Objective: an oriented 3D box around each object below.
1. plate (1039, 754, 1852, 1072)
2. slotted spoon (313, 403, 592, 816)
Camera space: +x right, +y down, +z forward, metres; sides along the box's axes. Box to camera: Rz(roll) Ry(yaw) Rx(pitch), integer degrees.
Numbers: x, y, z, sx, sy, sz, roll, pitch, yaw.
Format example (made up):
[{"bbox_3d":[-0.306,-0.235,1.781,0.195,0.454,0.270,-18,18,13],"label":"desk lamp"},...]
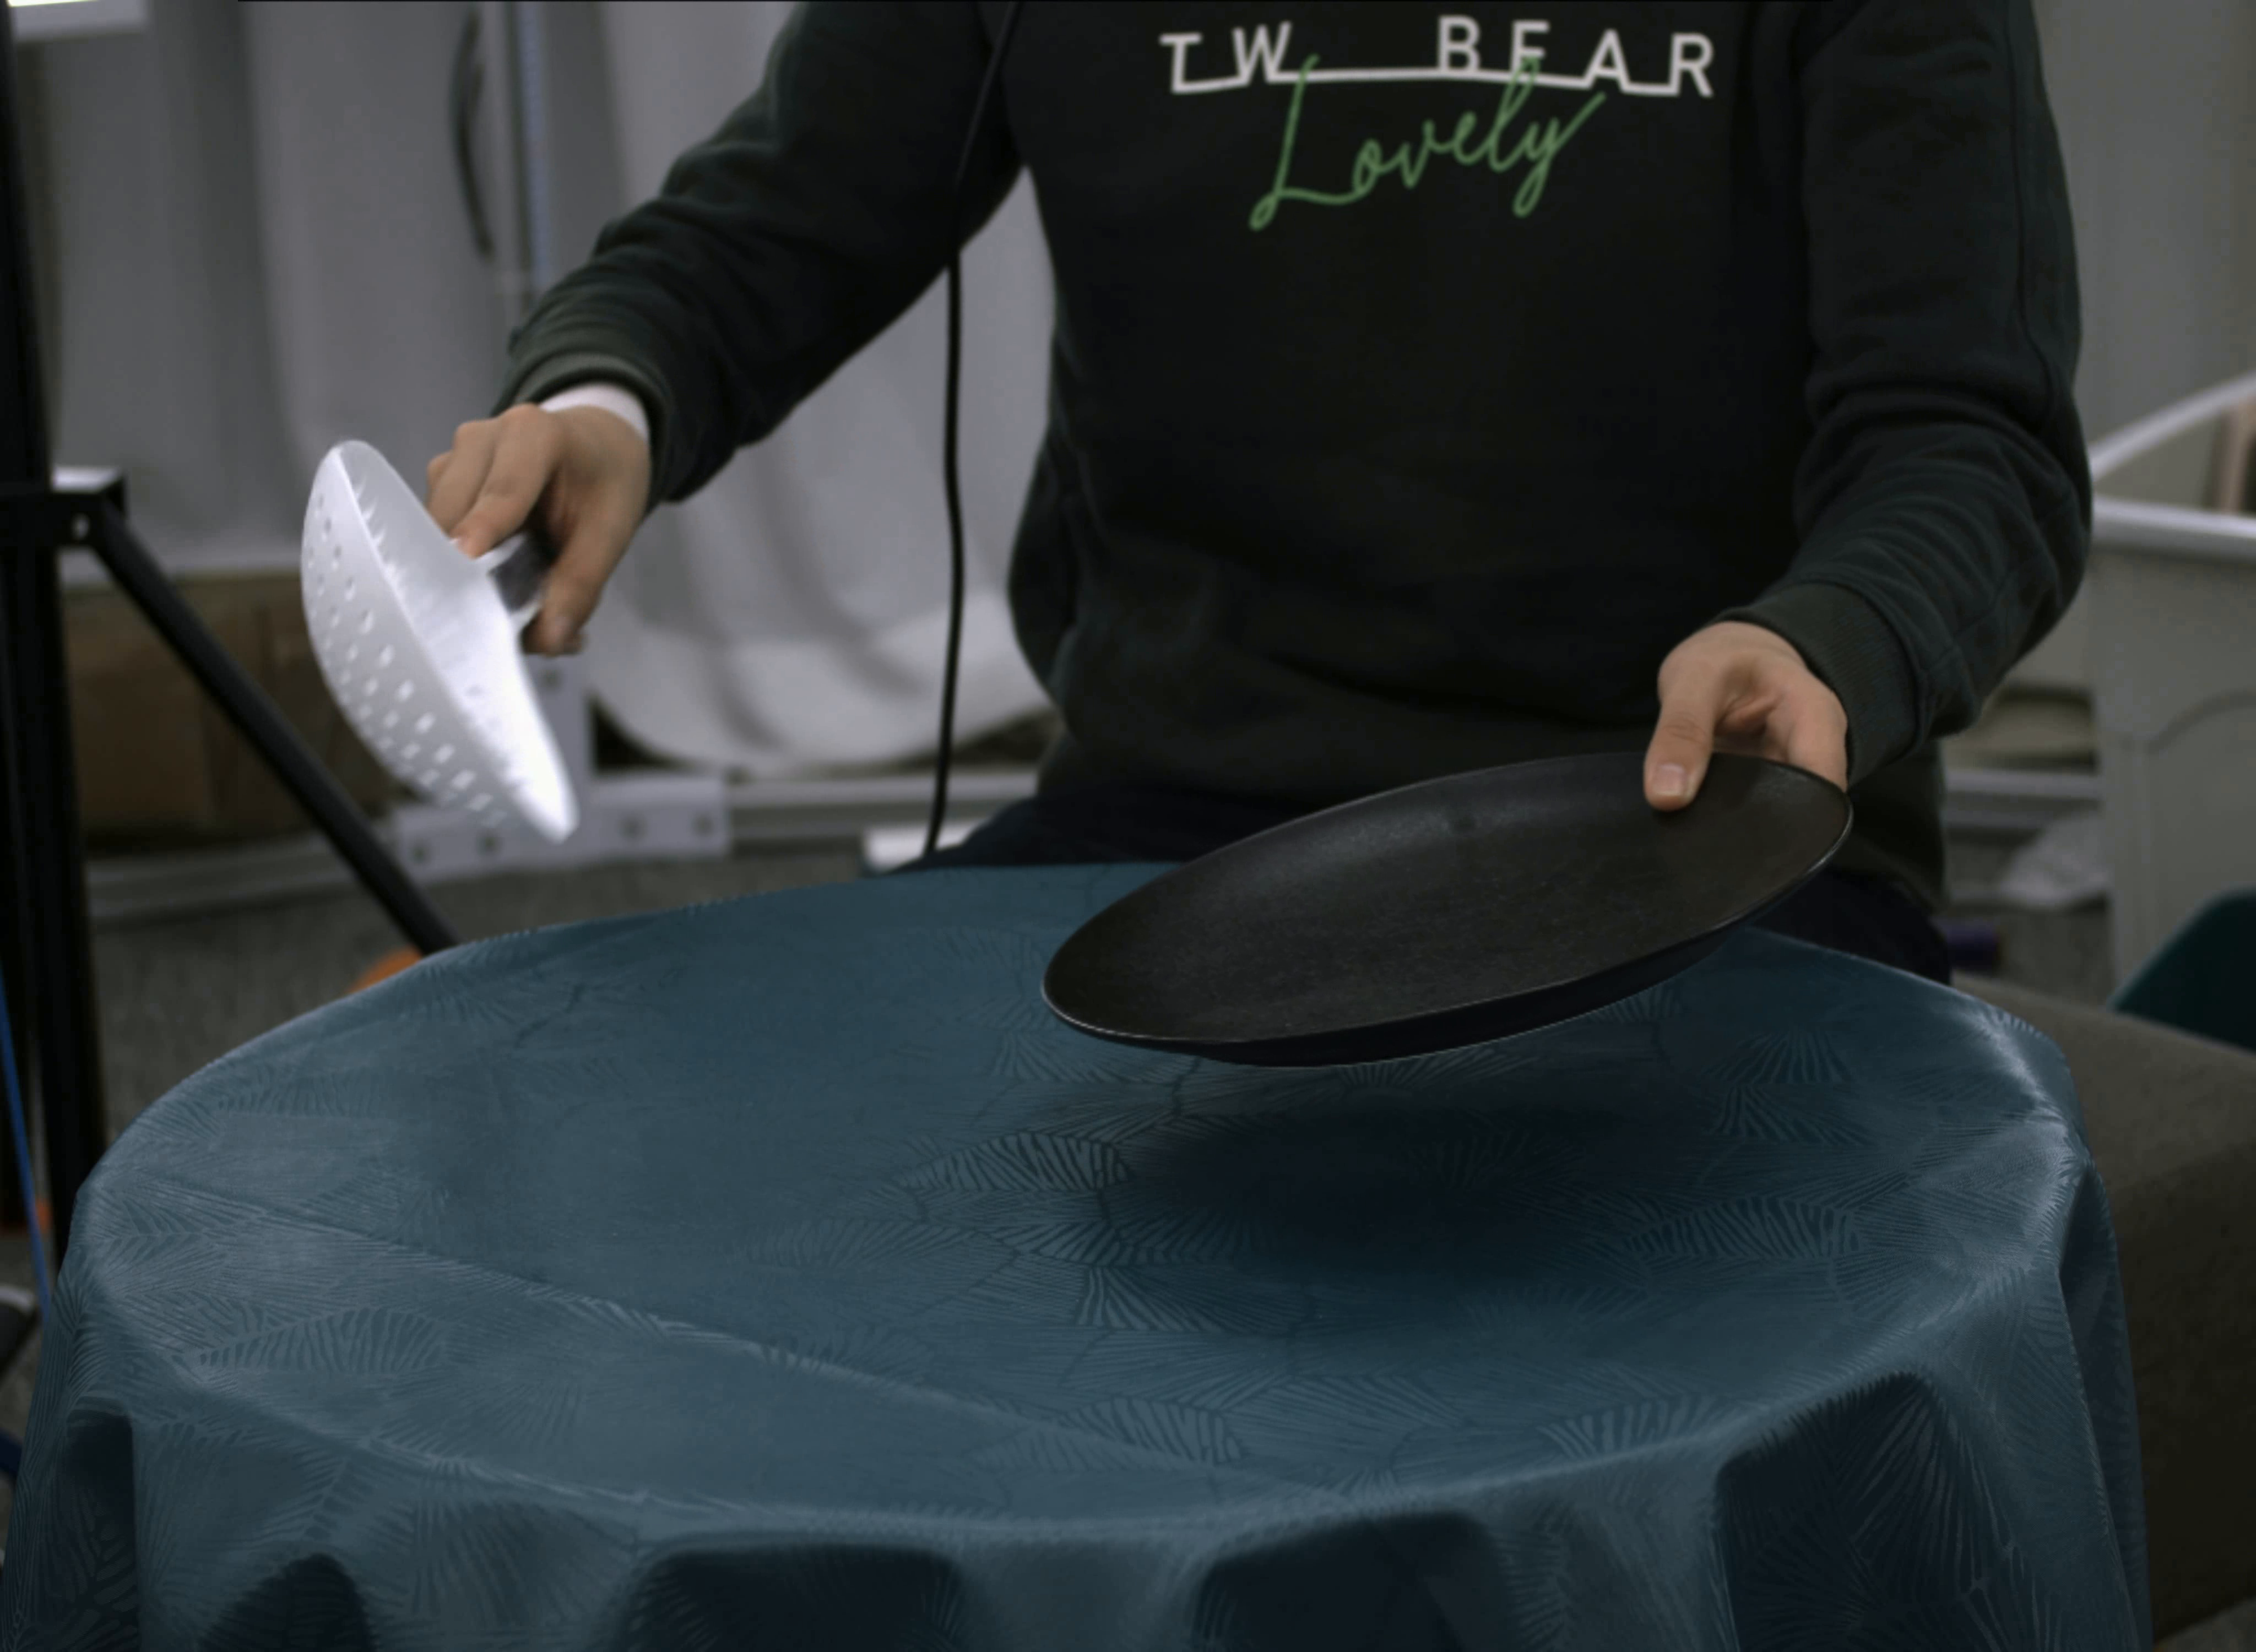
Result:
[{"bbox_3d":[0.094,0.028,1.559,0.244,0.023,0.245,-14,15,2],"label":"plate"},{"bbox_3d":[-0.197,-0.071,1.659,0.046,0.136,0.349,-29,5,8],"label":"slotted spoon"}]
